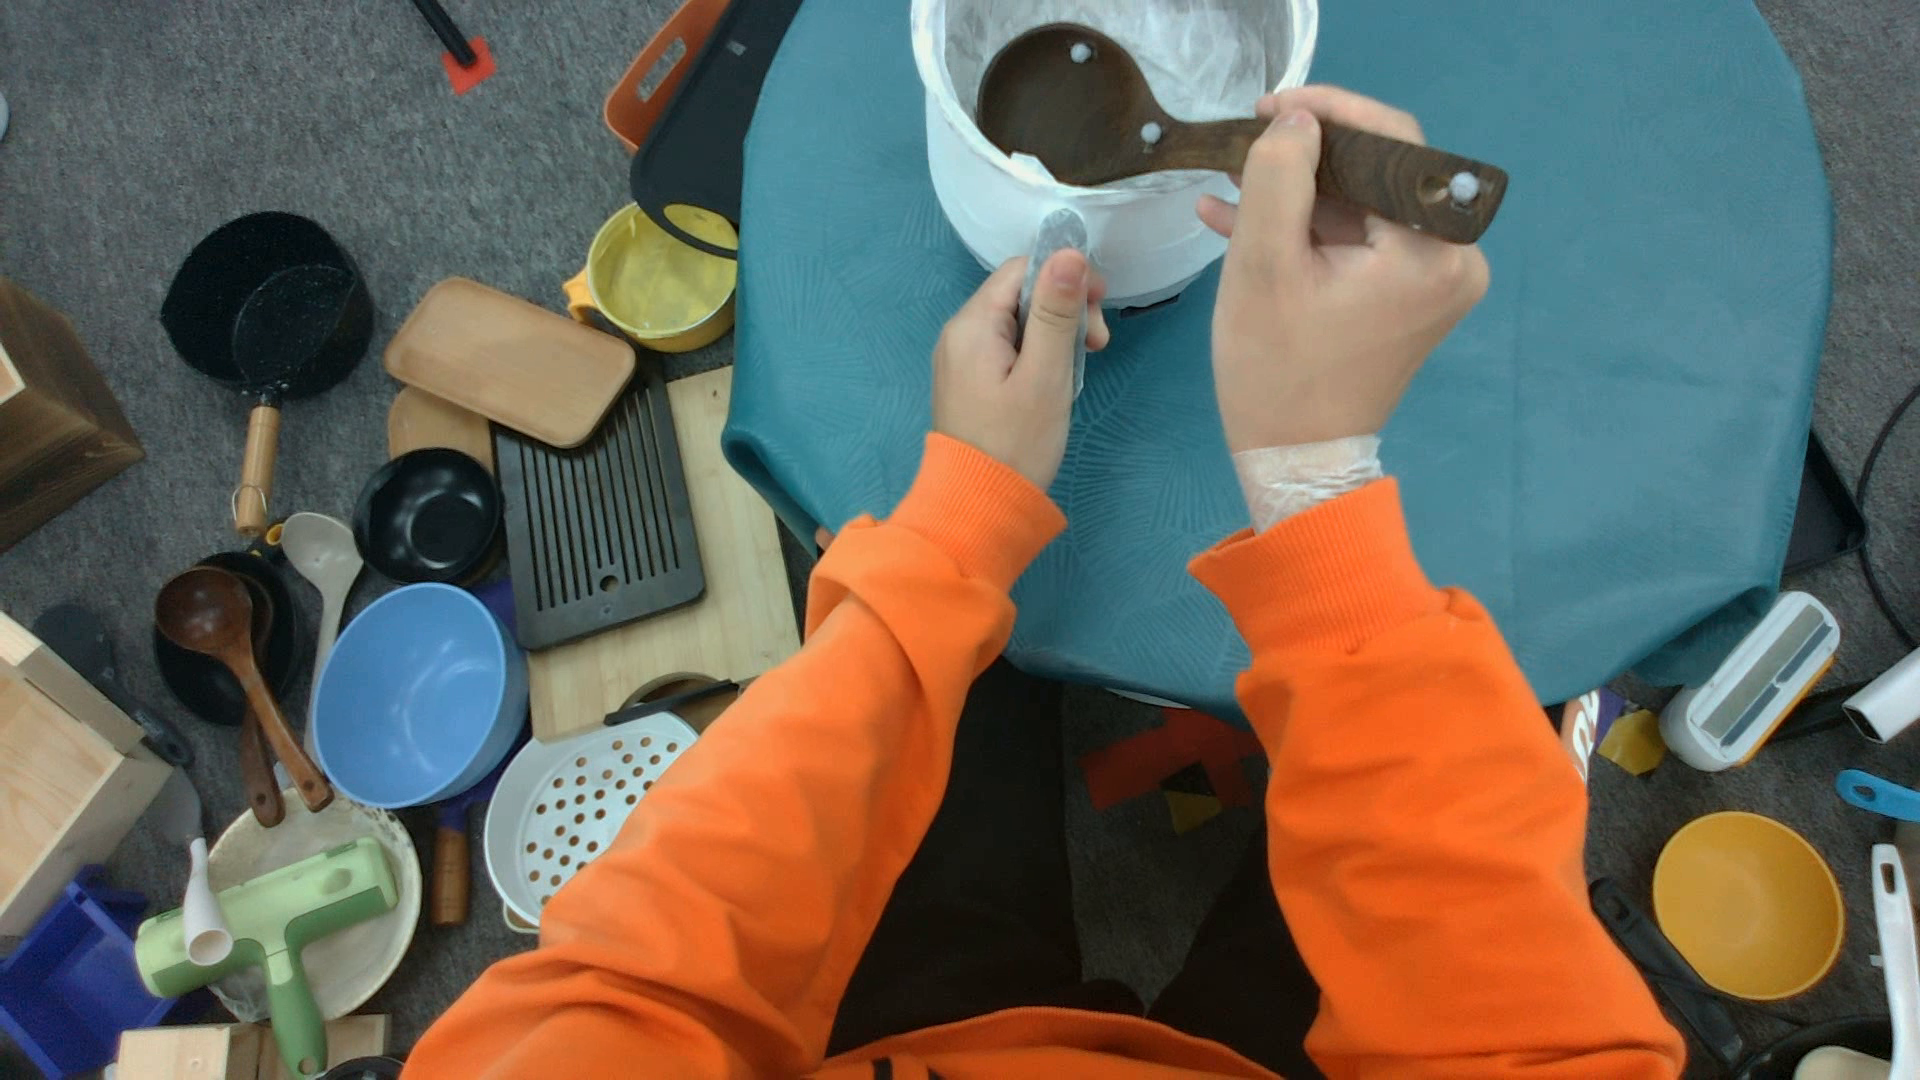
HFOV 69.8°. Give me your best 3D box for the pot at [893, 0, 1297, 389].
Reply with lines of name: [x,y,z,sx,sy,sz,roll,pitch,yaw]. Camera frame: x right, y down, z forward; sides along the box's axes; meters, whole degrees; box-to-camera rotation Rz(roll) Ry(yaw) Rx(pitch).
pot: [0.057,-0.195,0.660,0.178,0.136,0.234,10,75,5]

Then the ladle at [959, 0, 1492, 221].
ladle: [0.079,-0.164,0.518,0.071,0.274,0.076,20,101,-28]
